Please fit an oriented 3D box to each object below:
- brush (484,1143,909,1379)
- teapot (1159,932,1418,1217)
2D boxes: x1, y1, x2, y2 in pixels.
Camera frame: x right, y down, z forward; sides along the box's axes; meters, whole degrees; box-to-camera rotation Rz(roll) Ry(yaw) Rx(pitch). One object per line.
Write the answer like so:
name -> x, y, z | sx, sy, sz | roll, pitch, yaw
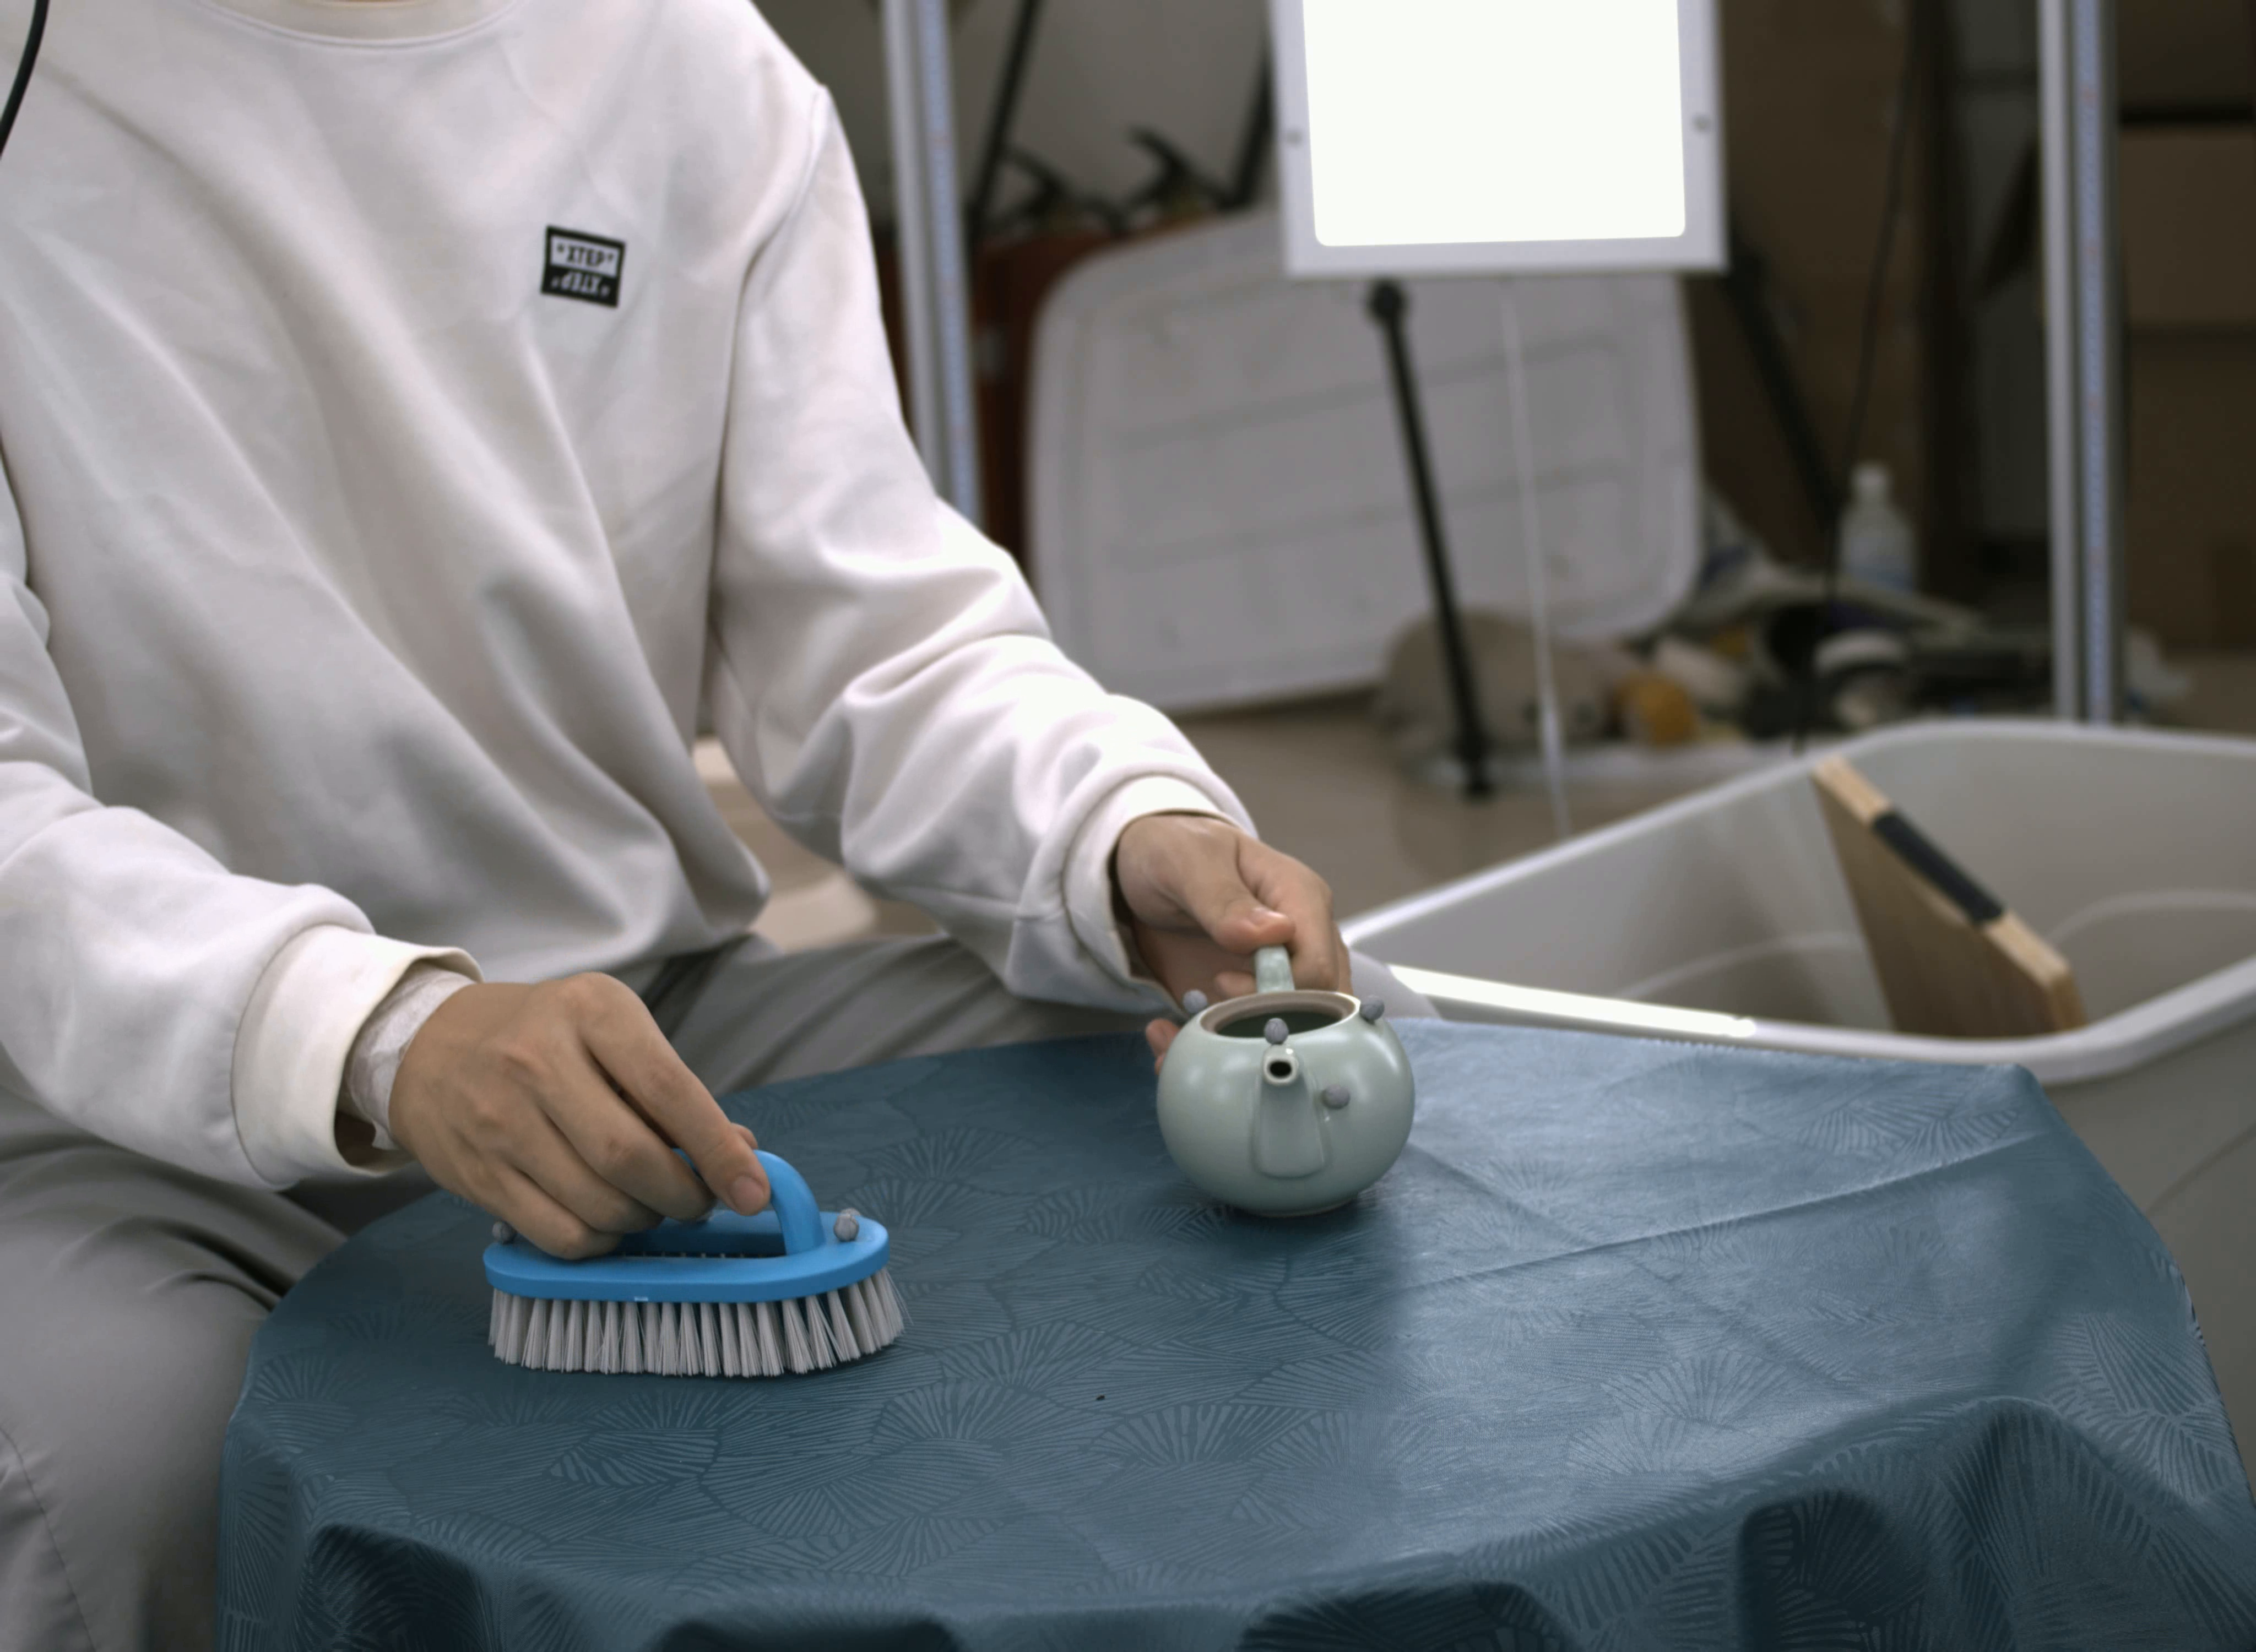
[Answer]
brush -> -0.143, 0.134, 1.777 | 0.144, 0.064, 0.083 | -3, 18, 22
teapot -> 0.055, 0.091, 1.868 | 0.088, 0.075, 0.143 | -8, 18, 5
